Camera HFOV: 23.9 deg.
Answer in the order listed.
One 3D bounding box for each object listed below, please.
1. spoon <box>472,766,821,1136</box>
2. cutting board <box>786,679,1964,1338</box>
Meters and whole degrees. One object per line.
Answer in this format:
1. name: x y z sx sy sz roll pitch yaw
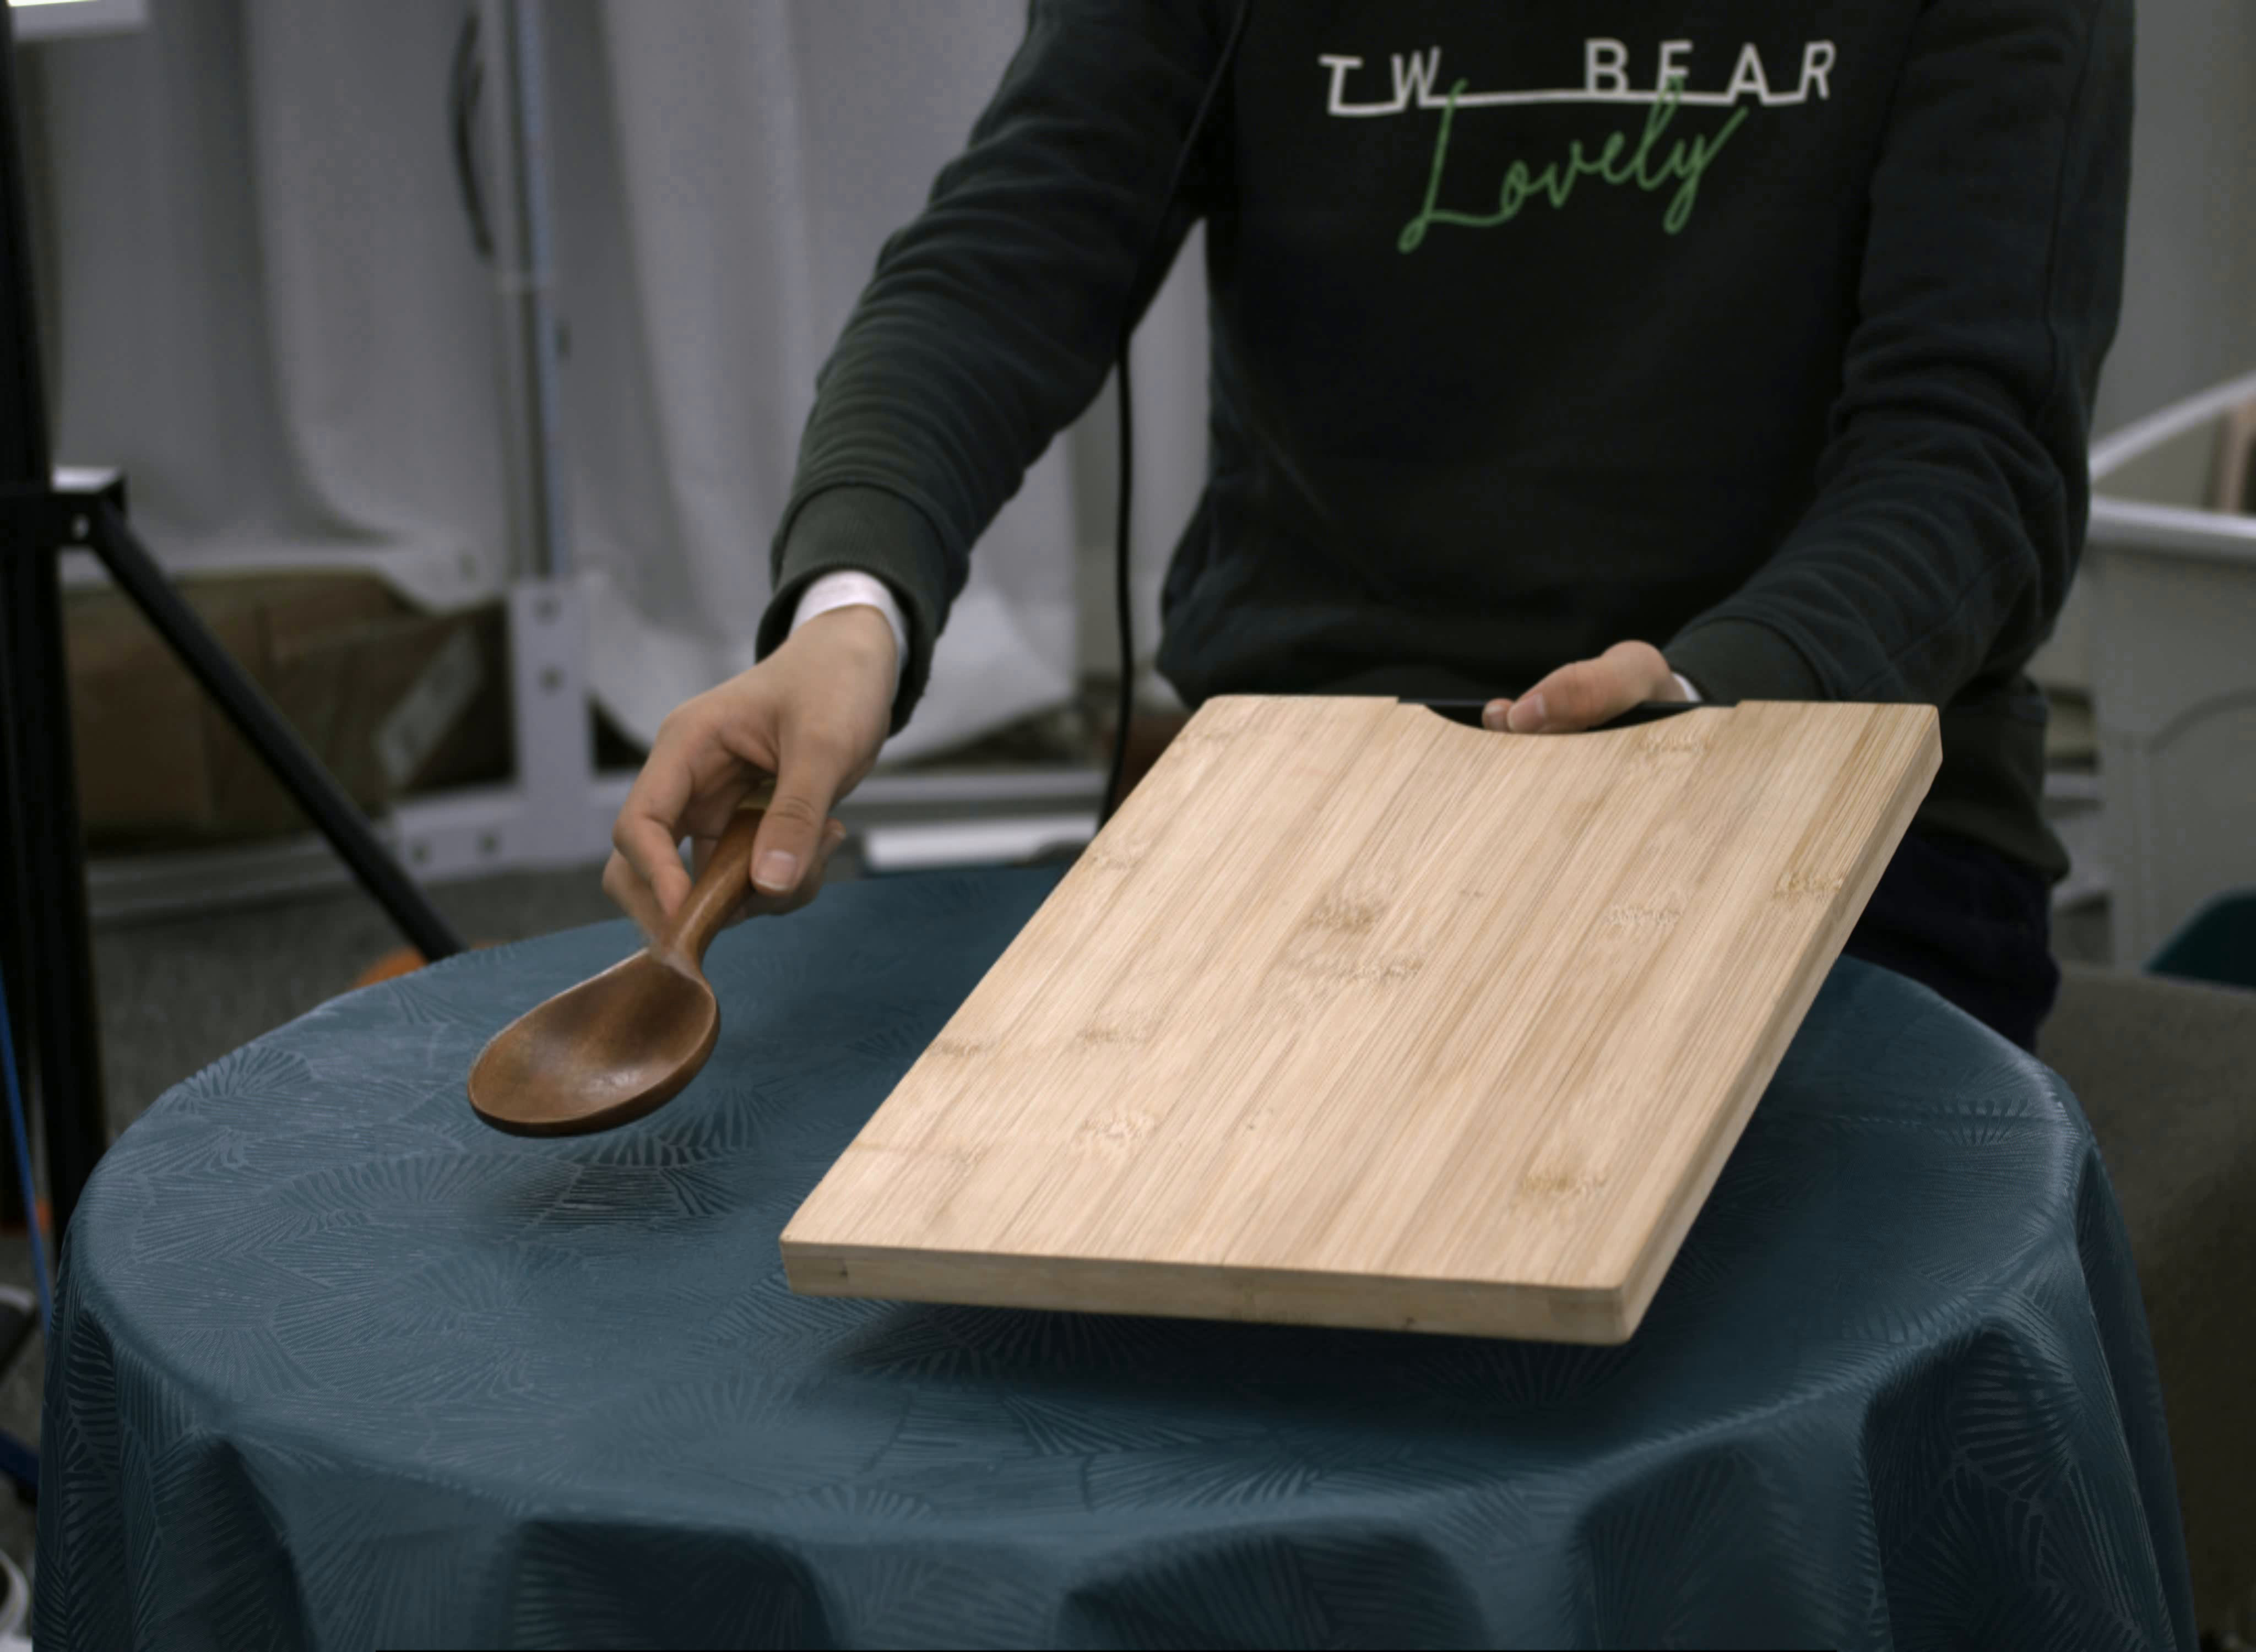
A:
1. spoon: -0.137 0.039 1.632 0.076 0.017 0.215 -6 27 22
2. cutting board: 0.080 0.042 1.521 0.254 0.023 0.346 1 27 23
